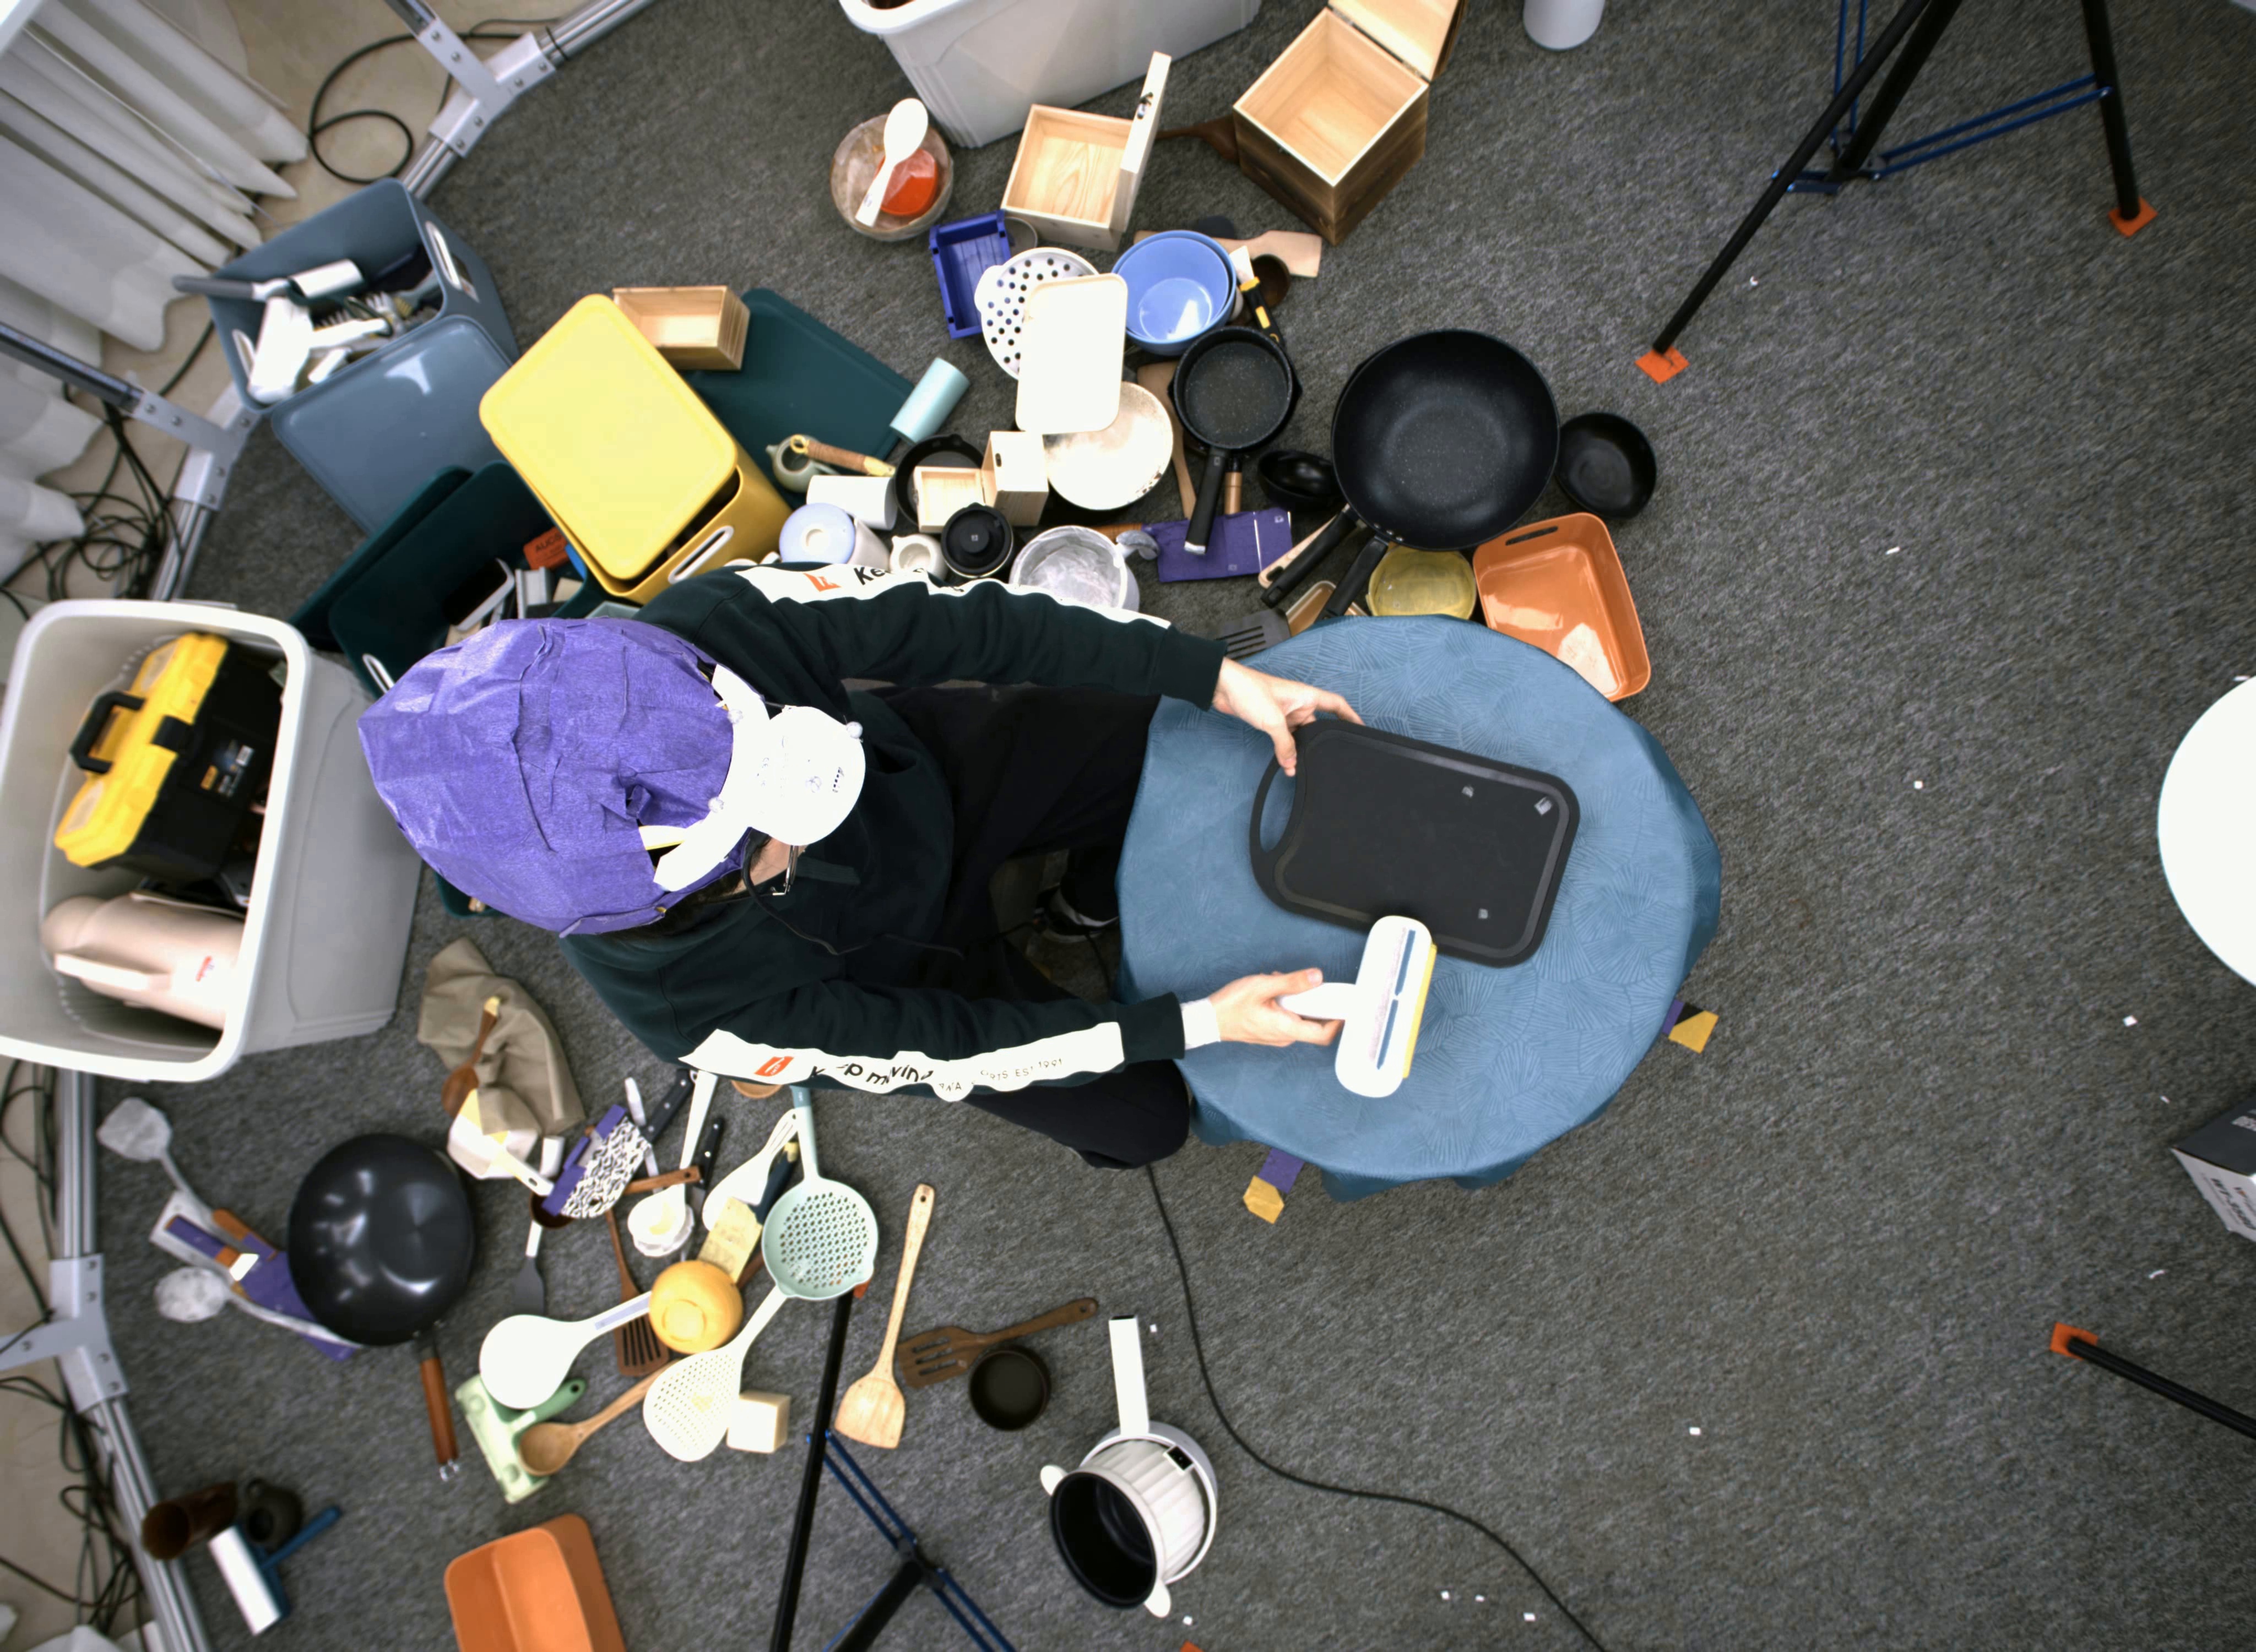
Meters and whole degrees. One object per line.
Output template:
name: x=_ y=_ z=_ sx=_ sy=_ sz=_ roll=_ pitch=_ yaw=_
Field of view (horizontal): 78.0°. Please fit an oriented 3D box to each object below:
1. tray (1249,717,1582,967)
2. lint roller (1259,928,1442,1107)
tray: x=0.287 y=0.014 z=1.417 sx=0.326 sy=0.009 sz=0.214 roll=15 pitch=106 yaw=8
lint roller: x=0.211 y=0.188 z=1.410 sx=0.193 sy=0.075 sz=0.189 roll=4 pitch=60 yaw=36
